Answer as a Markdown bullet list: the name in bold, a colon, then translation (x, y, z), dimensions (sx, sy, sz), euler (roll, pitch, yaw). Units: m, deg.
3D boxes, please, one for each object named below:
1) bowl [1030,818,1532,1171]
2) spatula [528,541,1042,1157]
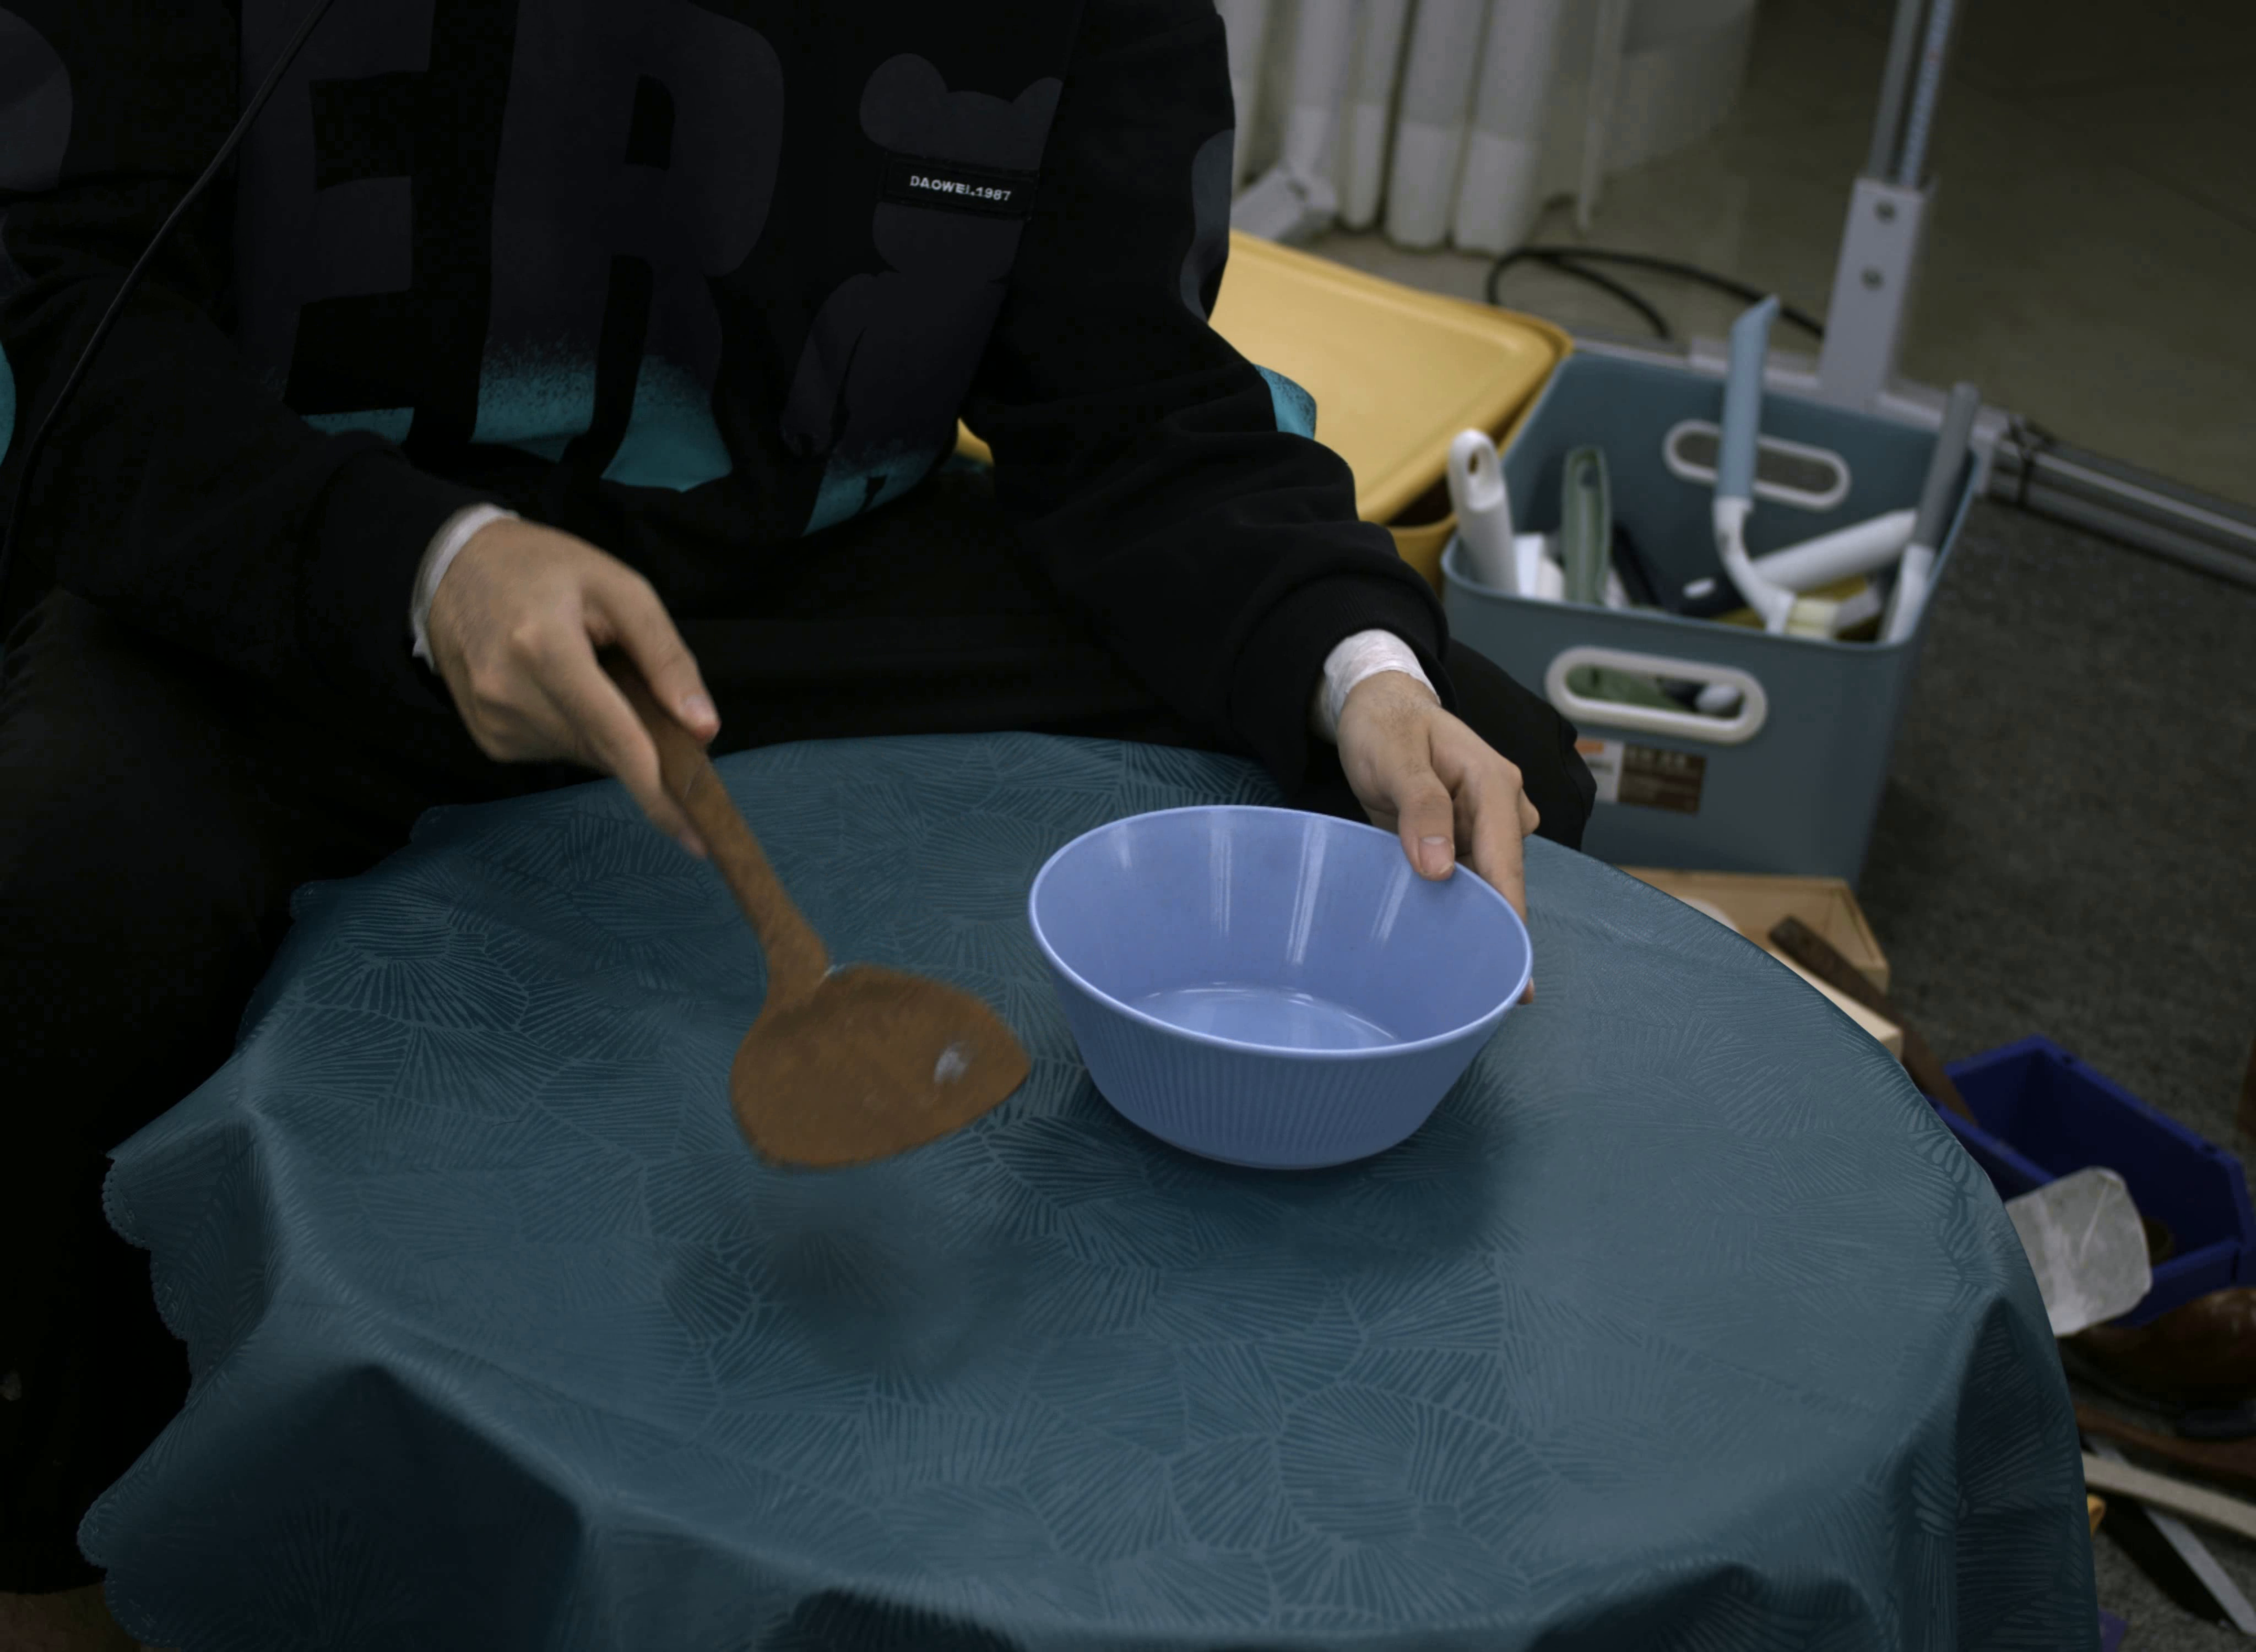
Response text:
- **bowl**: translation (0.050, 0.064, 1.852), dimensions (0.175, 0.070, 0.177), euler (5, 26, -3)
- **spatula**: translation (-0.138, -0.004, 1.827), dimensions (0.096, 0.015, 0.389), euler (-21, 39, -13)
